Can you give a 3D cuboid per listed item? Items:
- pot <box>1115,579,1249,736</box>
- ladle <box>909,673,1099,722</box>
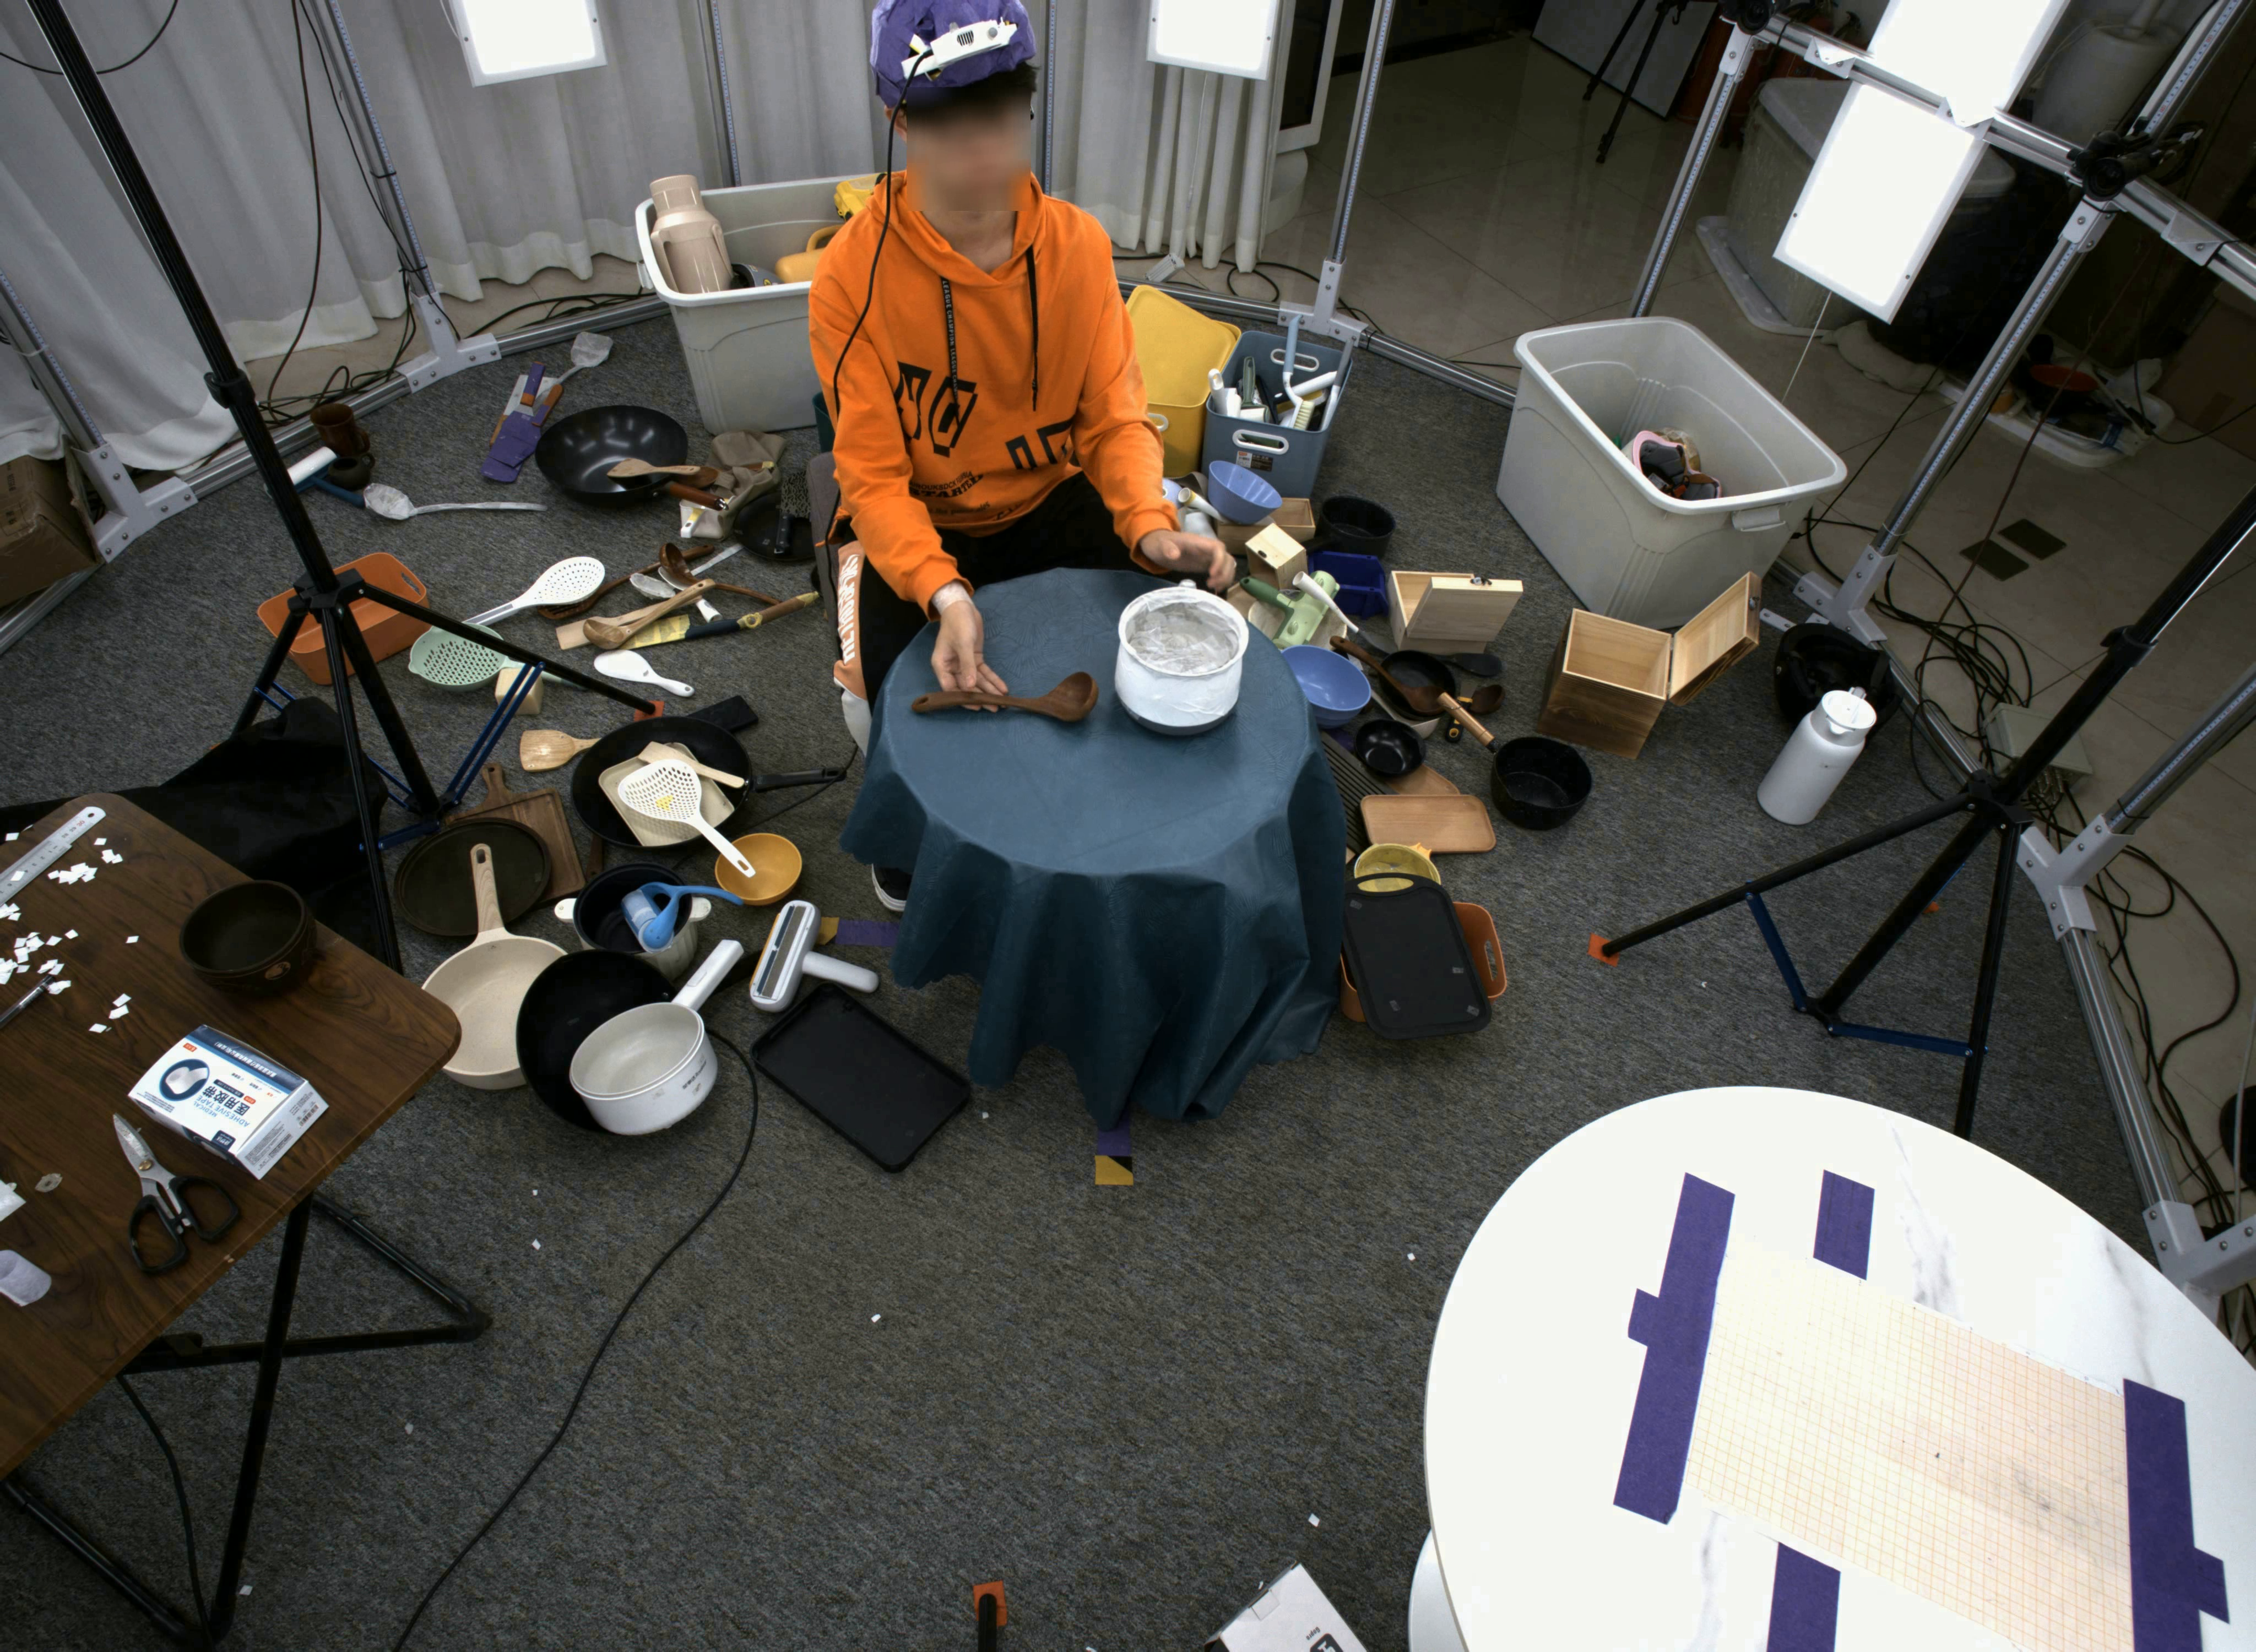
[{"bbox_3d":[0.073,-0.246,1.798,0.178,0.133,0.239,5,49,0],"label":"pot"},{"bbox_3d":[-0.171,-0.180,1.772,0.260,0.063,0.078,2,48,-3],"label":"ladle"}]
